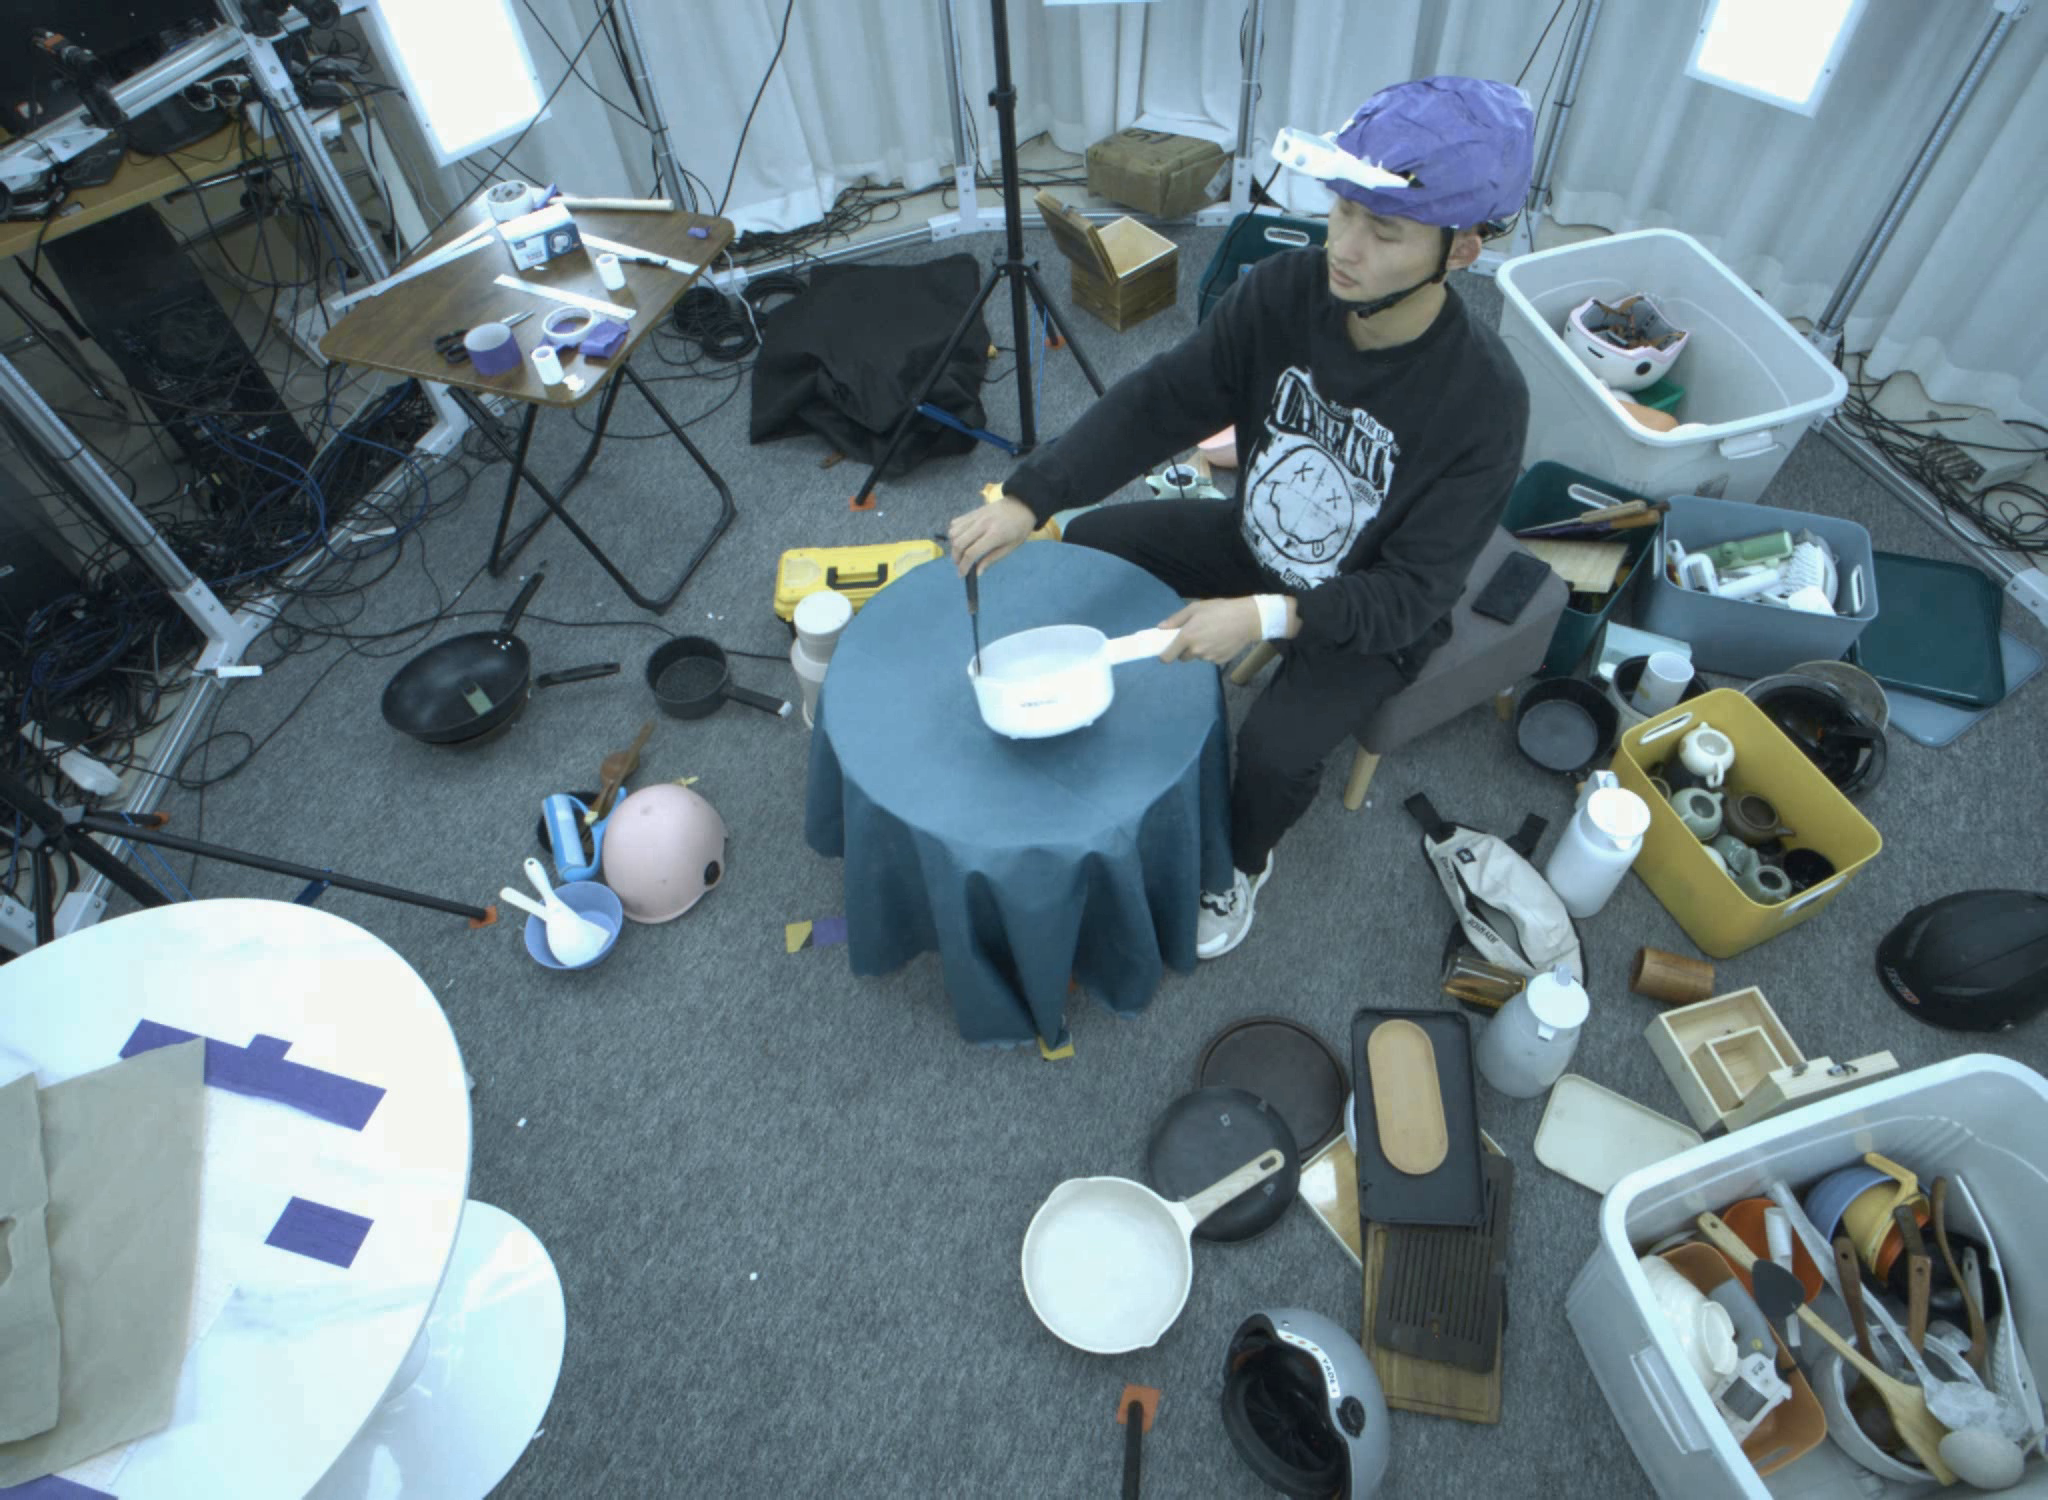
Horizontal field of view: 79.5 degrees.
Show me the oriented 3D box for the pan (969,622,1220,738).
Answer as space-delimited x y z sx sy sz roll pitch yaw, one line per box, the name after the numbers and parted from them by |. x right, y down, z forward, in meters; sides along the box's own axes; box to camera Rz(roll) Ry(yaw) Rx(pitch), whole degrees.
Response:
0.104 -0.106 1.751 0.354 0.103 0.199 -9 24 3 | pan

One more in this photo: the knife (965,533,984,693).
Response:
-0.070 -0.192 1.729 0.026 0.017 0.226 1 96 5 | knife
